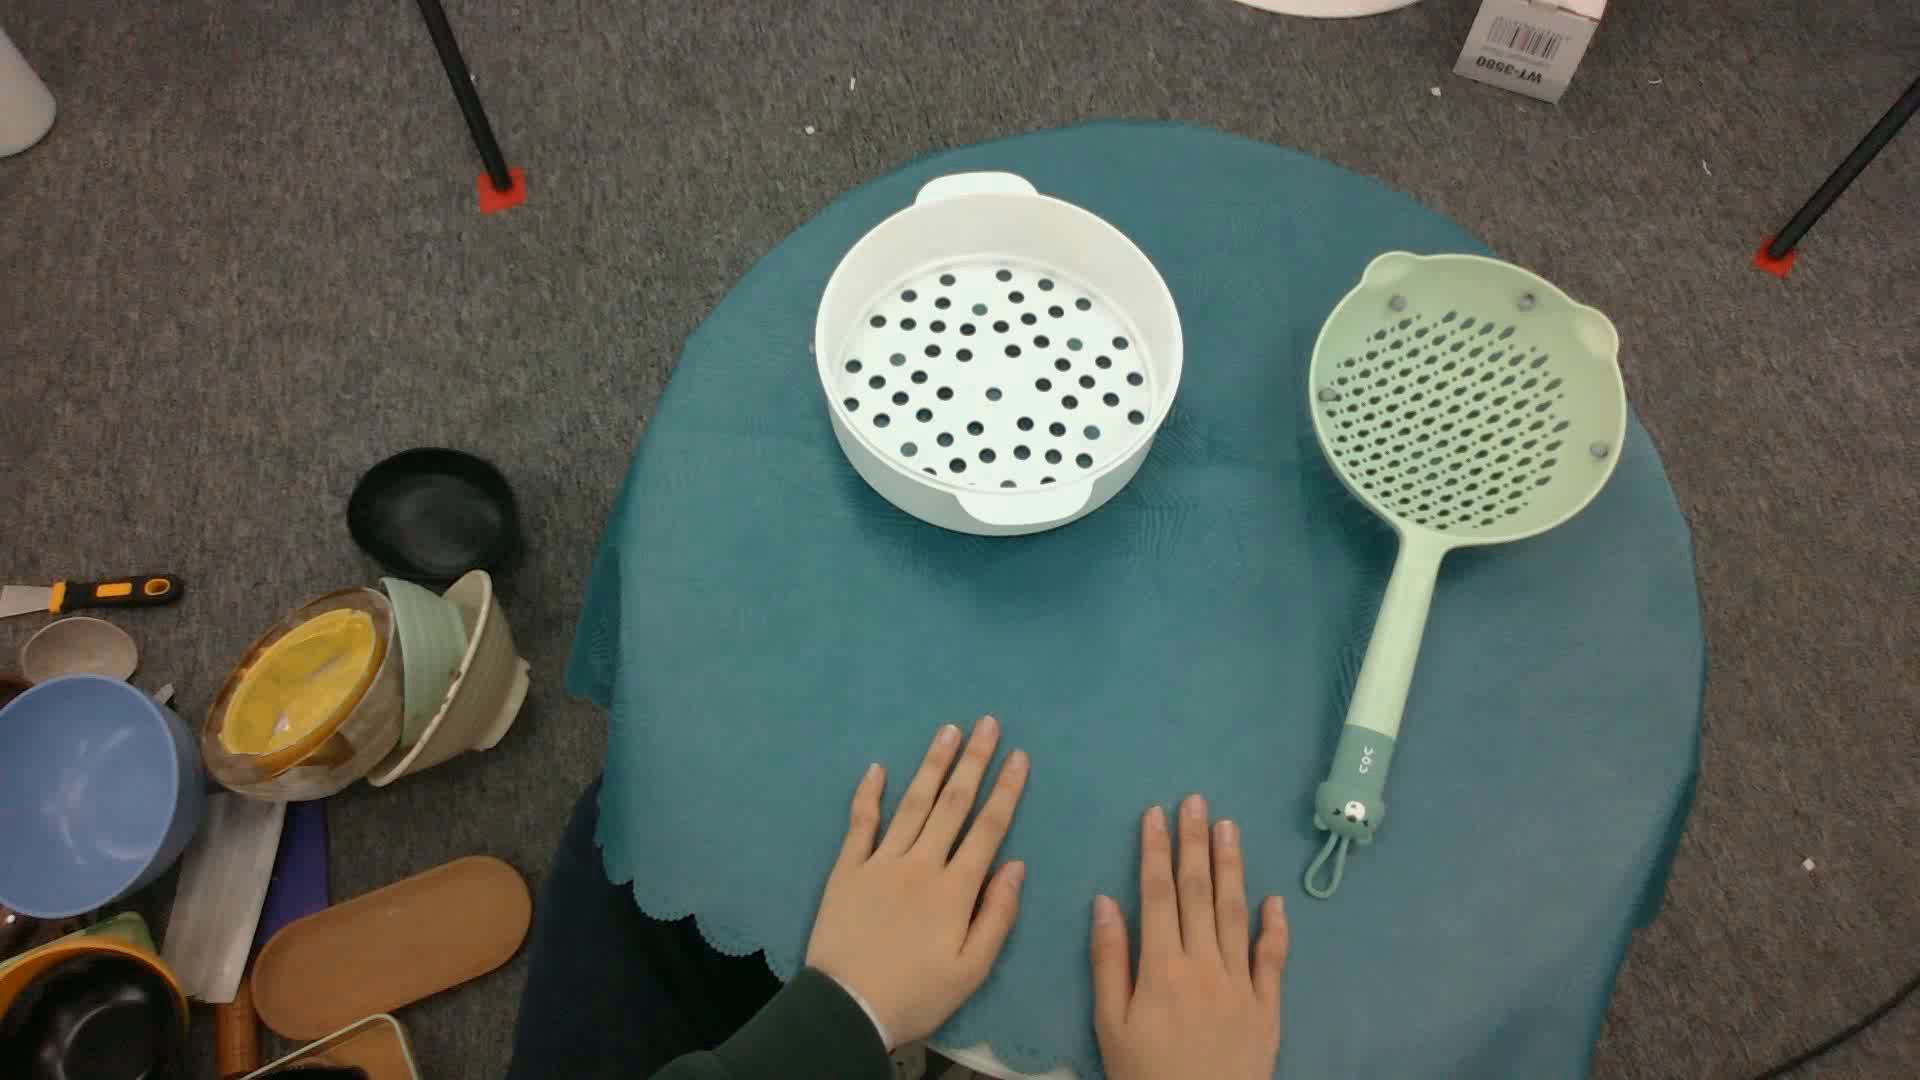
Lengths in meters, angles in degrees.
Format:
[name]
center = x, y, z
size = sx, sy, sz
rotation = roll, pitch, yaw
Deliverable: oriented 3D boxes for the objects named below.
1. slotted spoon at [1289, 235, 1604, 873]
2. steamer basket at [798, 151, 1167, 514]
[slotted spoon]
center = 0.234, 0.001, 0.734
size = 0.169, 0.075, 0.360
rotation = 19, 64, 7
[steamer basket]
center = 0.012, -0.111, 0.777
size = 0.202, 0.069, 0.231
rotation = -7, 65, -5
